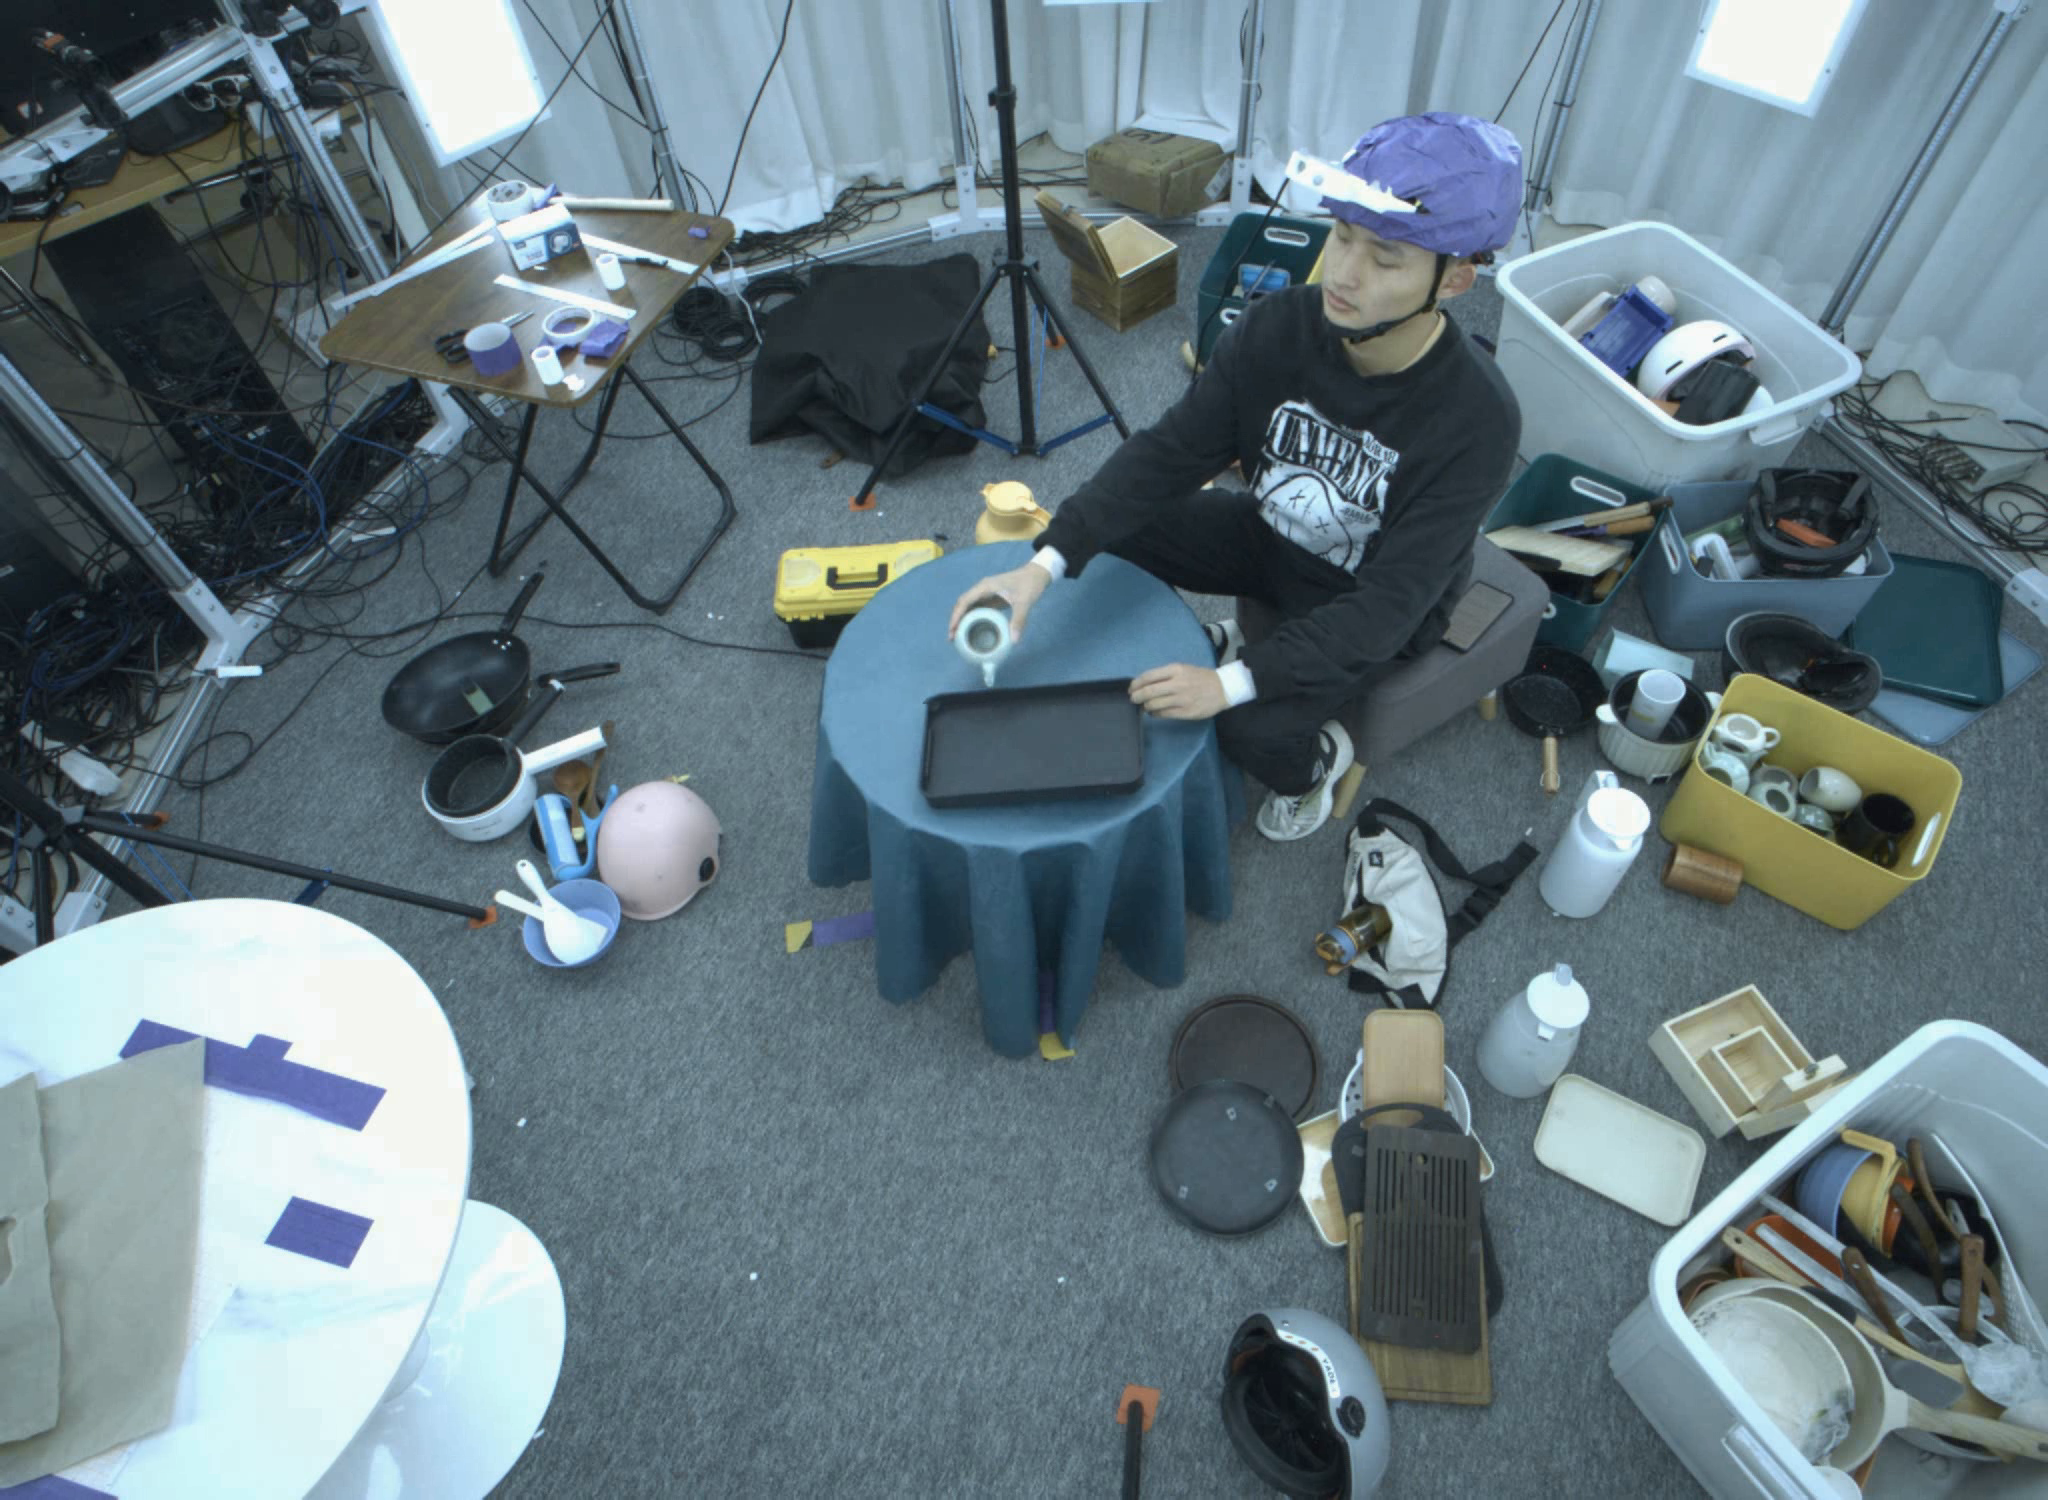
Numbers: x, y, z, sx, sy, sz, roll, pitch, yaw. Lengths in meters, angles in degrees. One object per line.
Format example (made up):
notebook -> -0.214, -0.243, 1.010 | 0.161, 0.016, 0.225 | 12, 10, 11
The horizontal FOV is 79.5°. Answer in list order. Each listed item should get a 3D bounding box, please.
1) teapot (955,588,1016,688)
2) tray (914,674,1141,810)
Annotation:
teapot -> -0.056, -0.162, 1.774 | 0.088, 0.074, 0.144 | -7, 97, 2
tray -> 0.006, -0.011, 1.746 | 0.316, 0.037, 0.182 | -6, 55, 7
